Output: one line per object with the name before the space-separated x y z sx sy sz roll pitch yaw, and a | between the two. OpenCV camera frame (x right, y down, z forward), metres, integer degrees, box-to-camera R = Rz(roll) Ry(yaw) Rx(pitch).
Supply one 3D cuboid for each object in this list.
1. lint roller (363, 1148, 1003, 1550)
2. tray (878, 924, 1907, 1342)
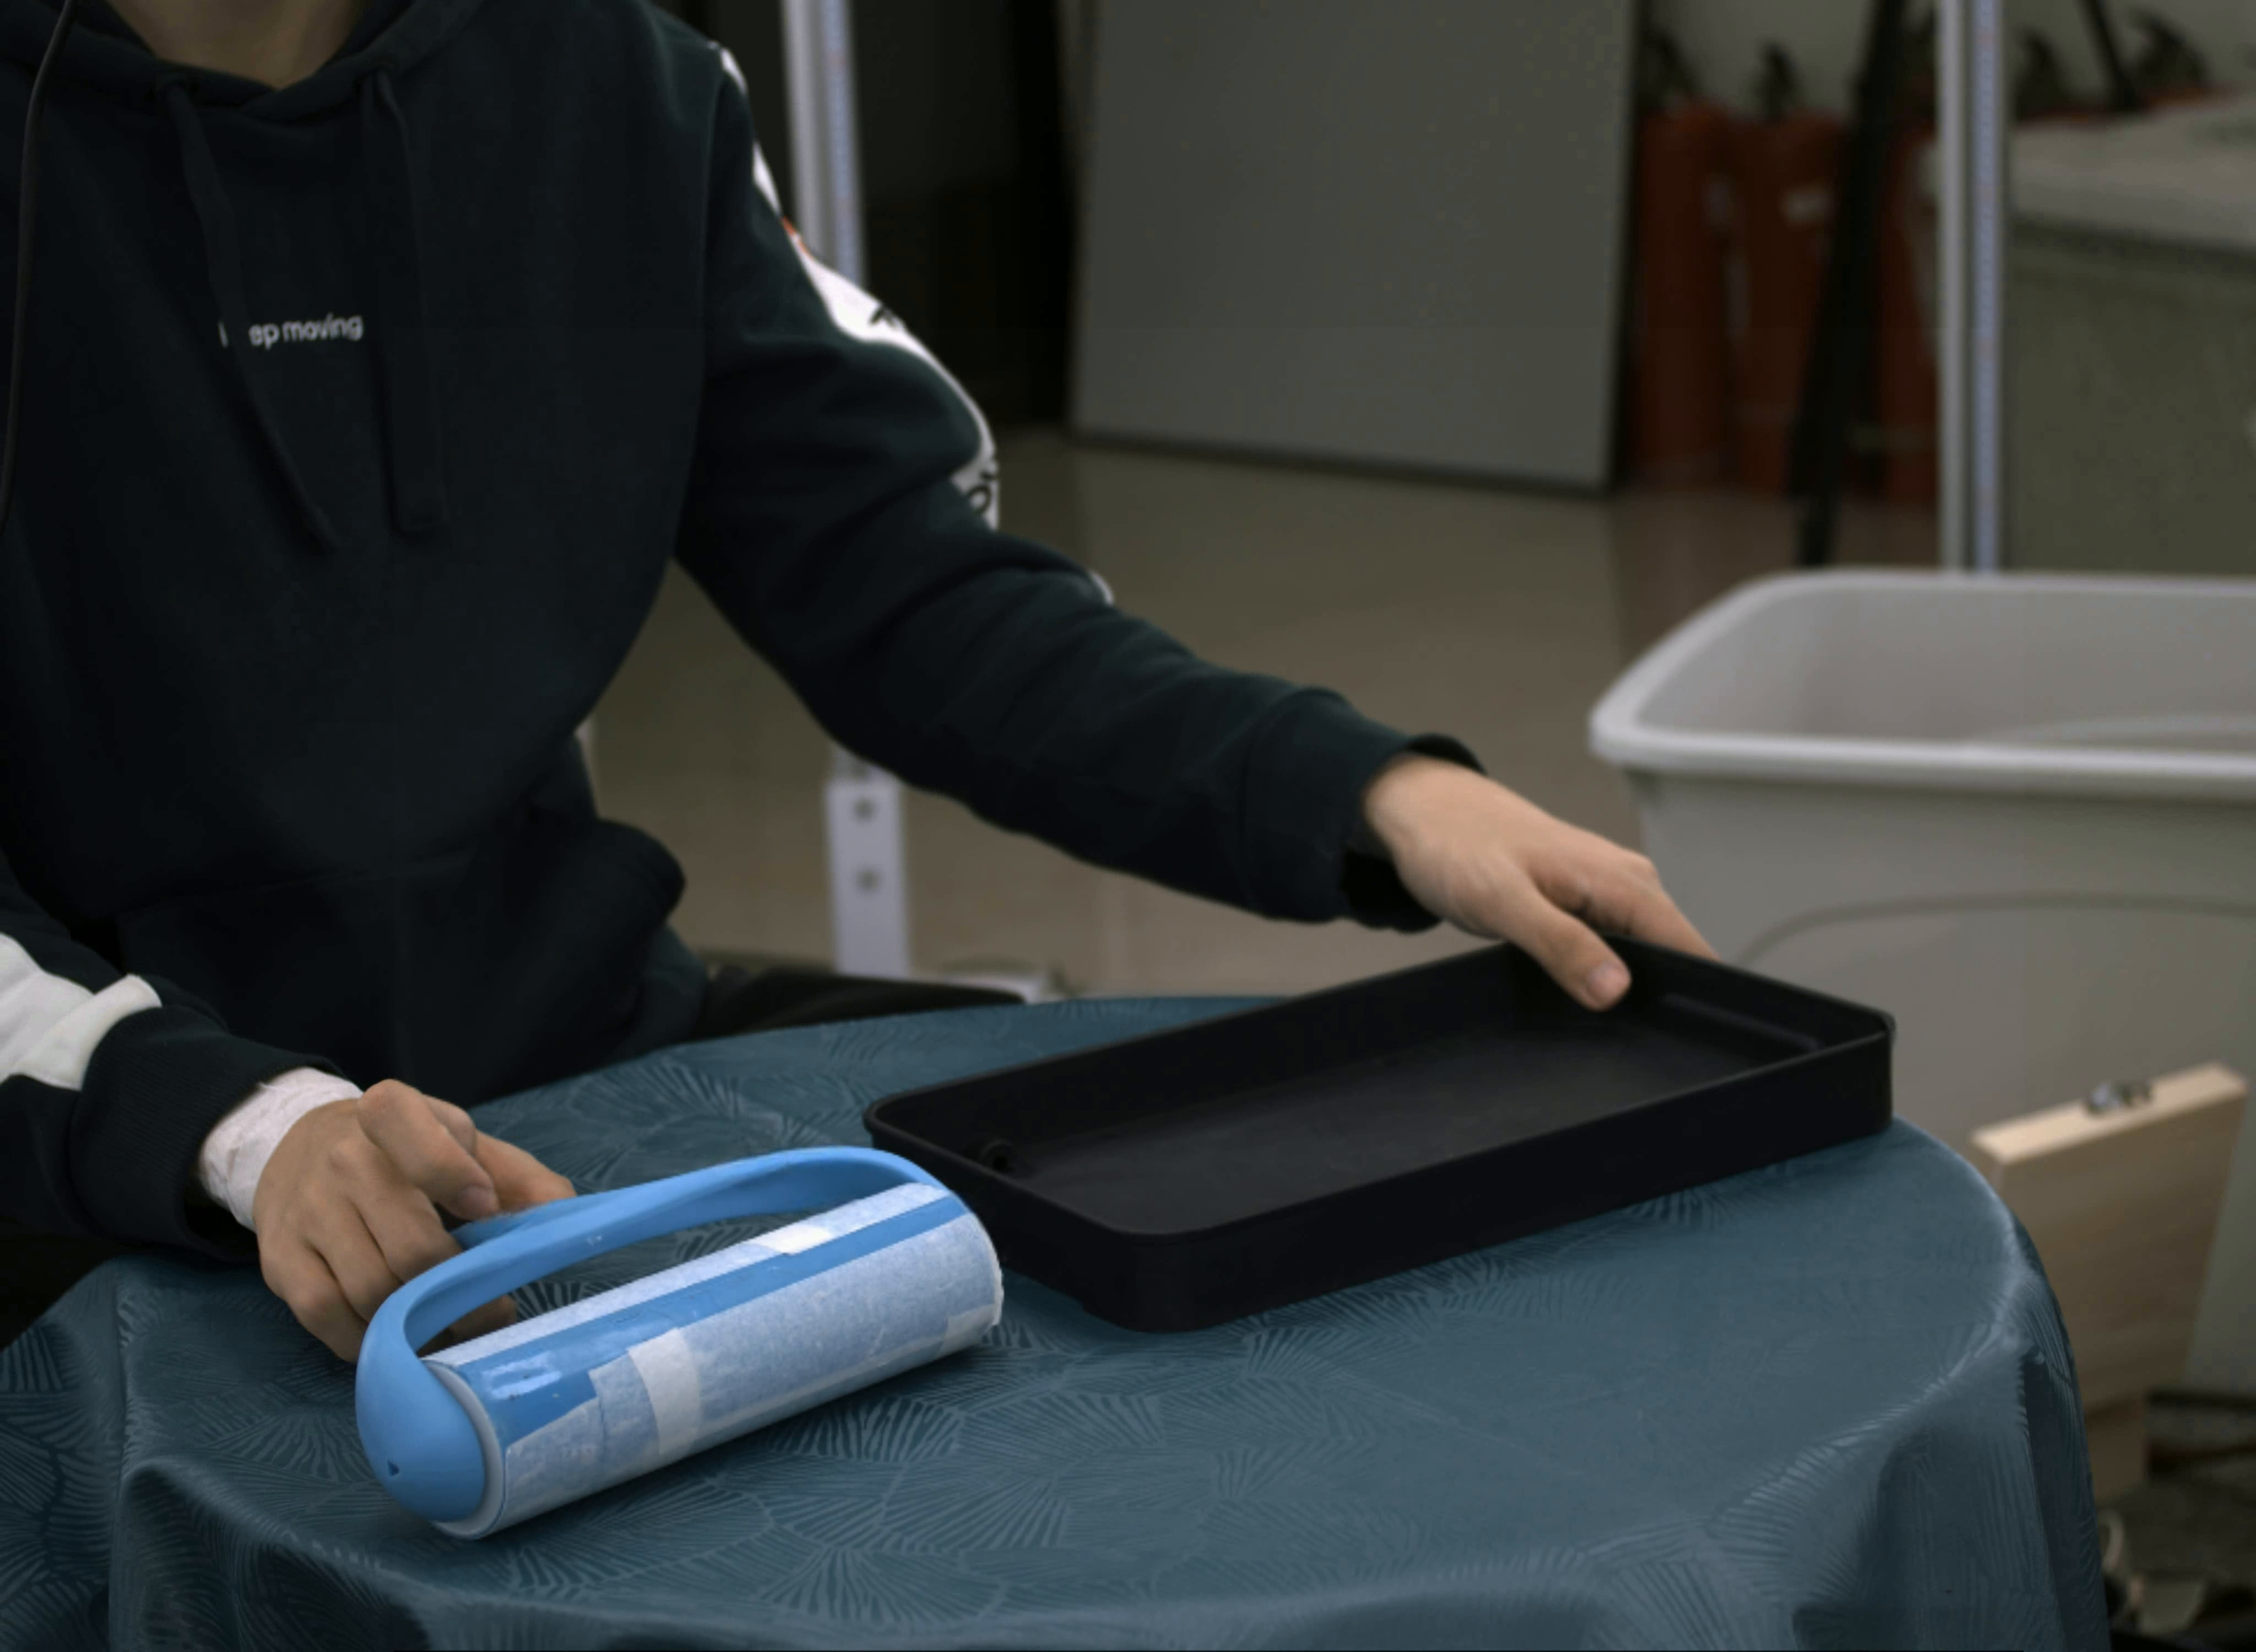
lint roller | -0.166 0.145 1.606 0.182 0.068 0.224 10 22 41
tray | 0.090 0.096 1.776 0.311 0.037 0.186 -15 17 -32
